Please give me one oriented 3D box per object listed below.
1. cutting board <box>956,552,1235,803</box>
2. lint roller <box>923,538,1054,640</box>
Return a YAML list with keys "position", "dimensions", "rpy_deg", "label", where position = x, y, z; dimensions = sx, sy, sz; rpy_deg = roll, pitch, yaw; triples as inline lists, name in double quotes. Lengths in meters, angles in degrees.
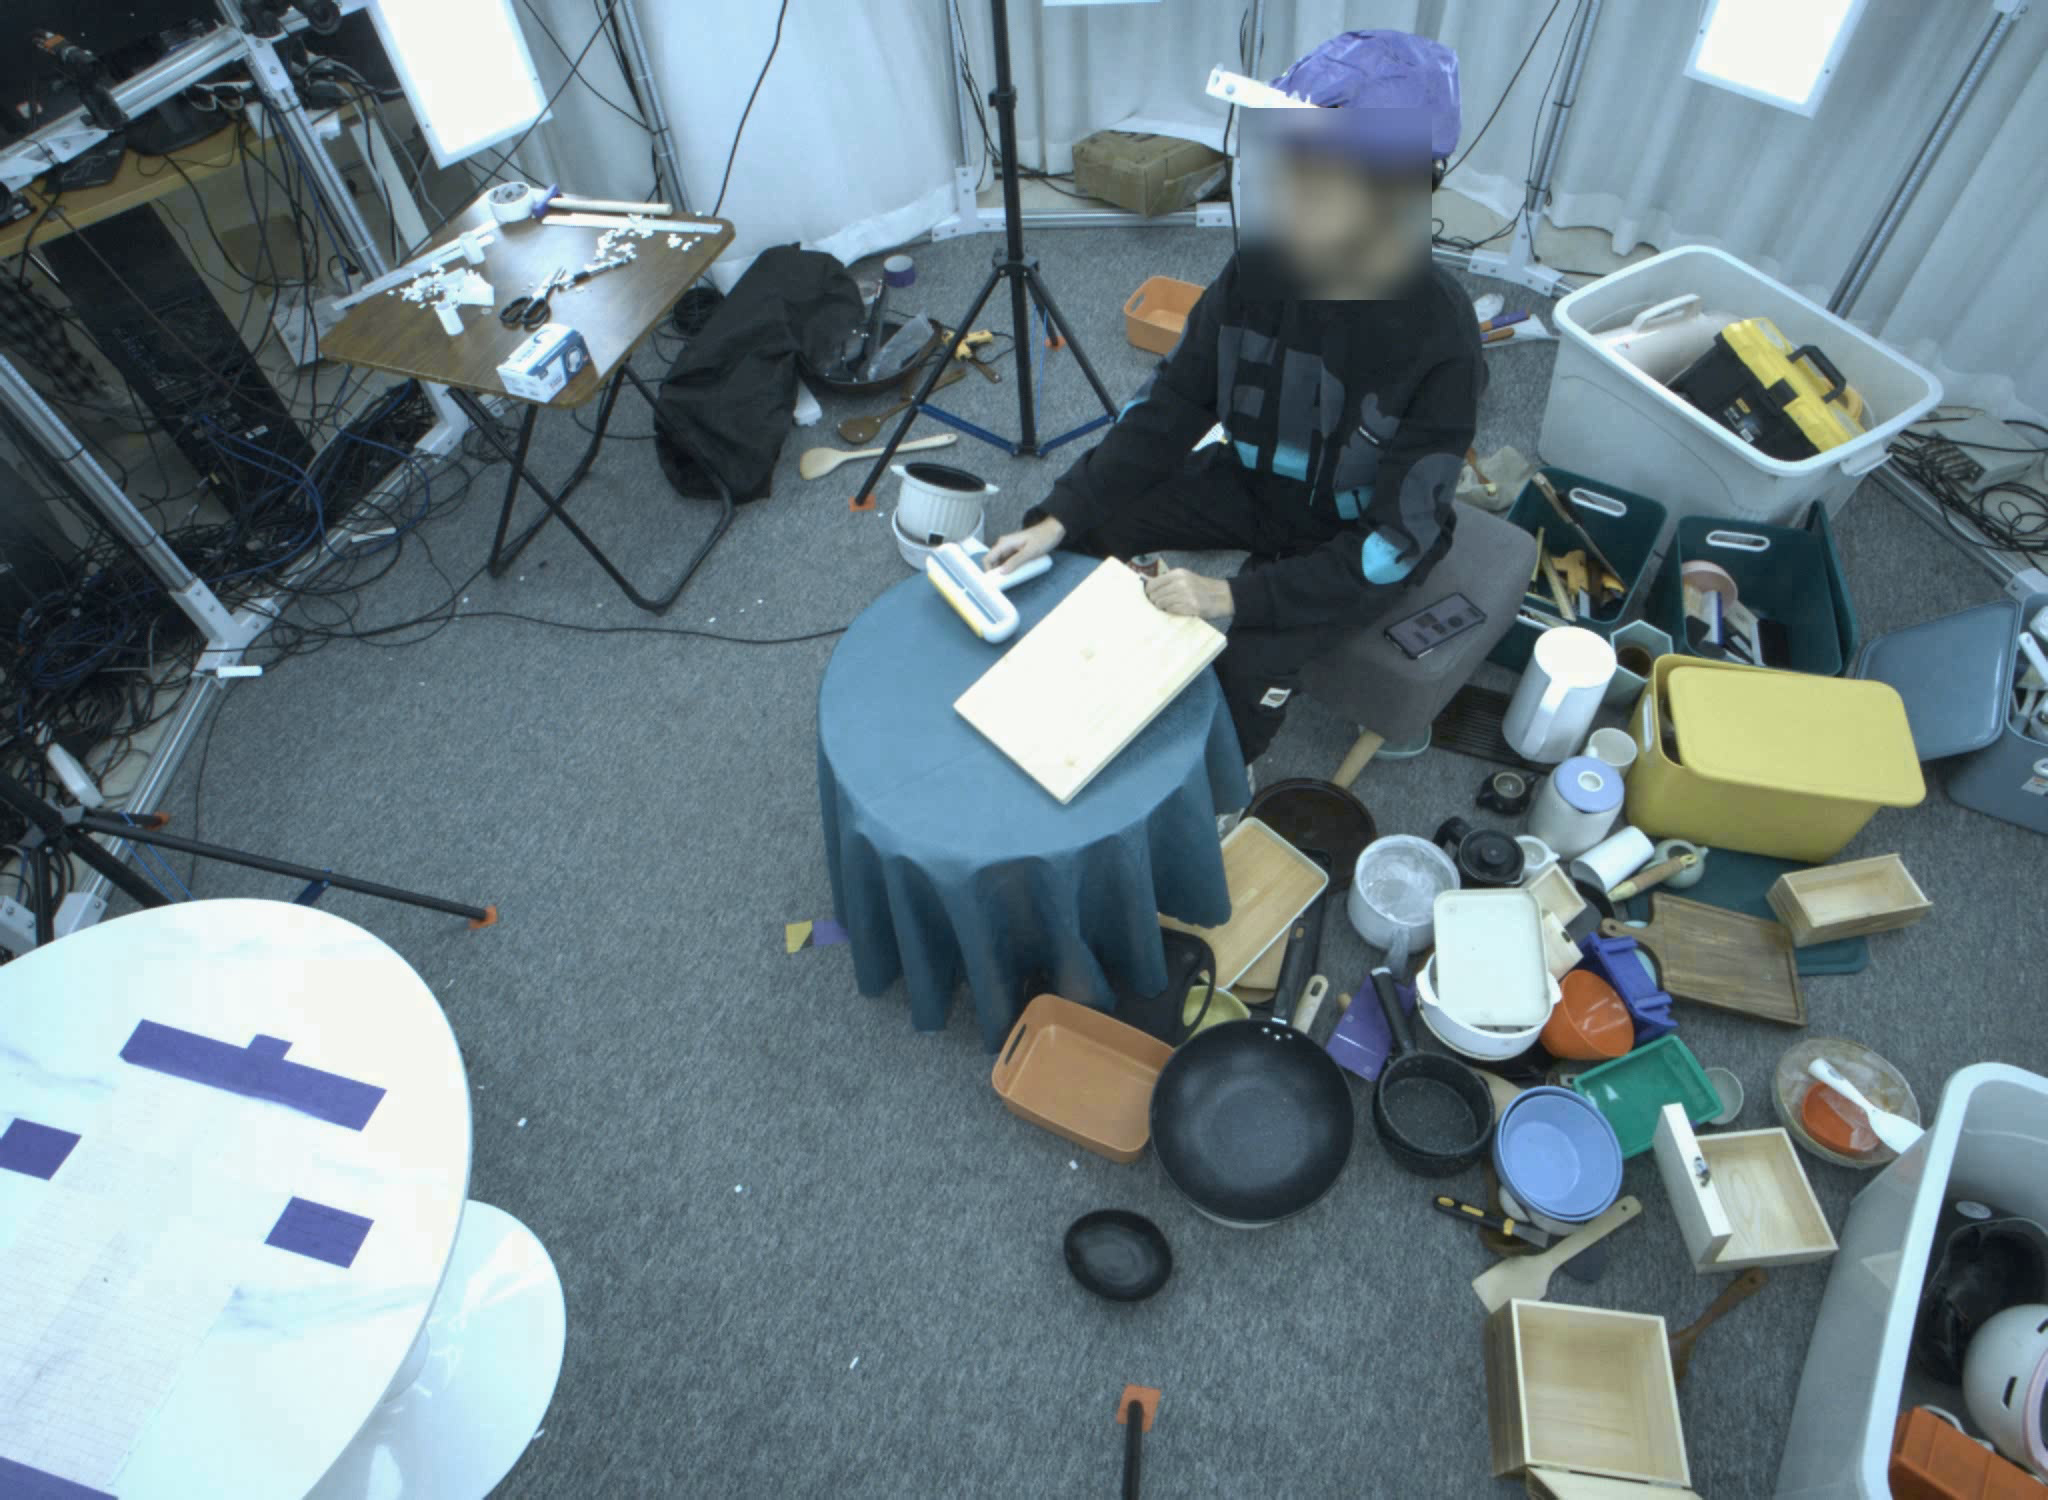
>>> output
- position: [0.100, -0.114, 1.801]
  dimensions: [0.349, 0.024, 0.246]
  rpy_deg: [-45, 64, -10]
  label: "cutting board"
- position: [-0.038, -0.275, 1.934]
  dimensions: [0.194, 0.075, 0.189]
  rpy_deg: [-31, 63, -15]
  label: "lint roller"
